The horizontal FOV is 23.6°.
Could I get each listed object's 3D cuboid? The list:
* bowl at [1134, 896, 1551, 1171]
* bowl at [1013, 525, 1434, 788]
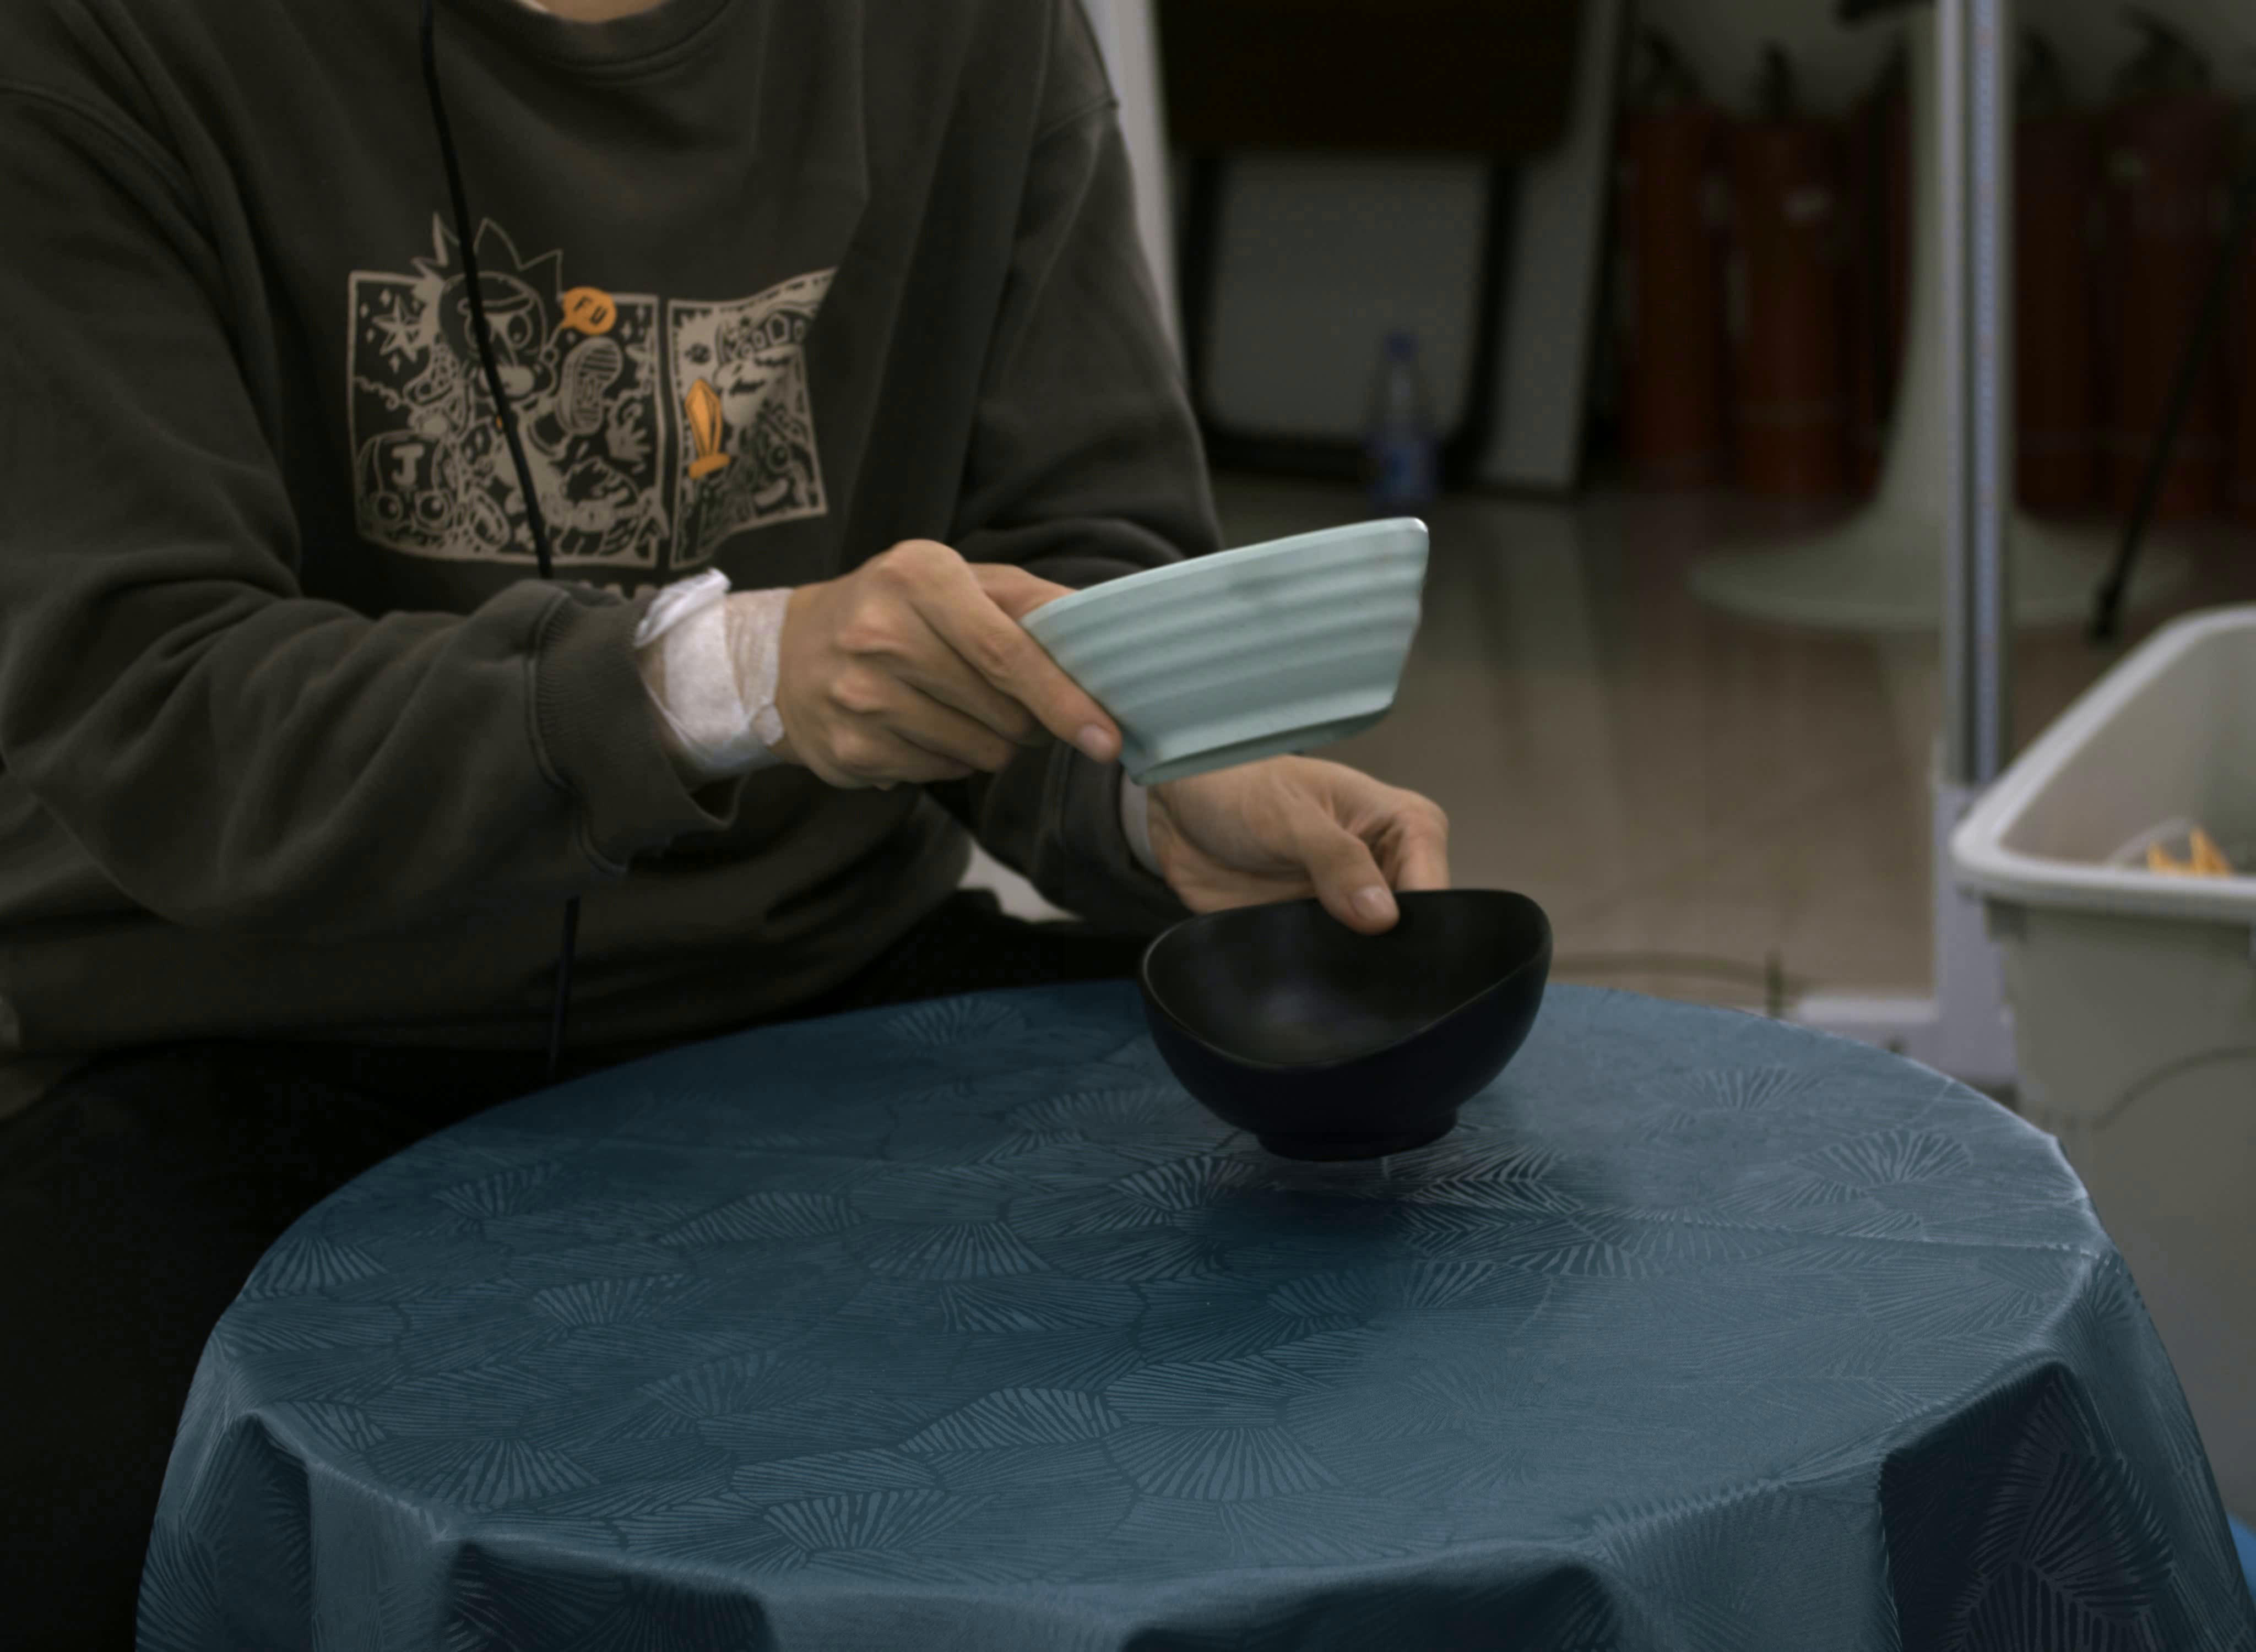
[{"bbox_3d":[0.072,0.071,1.754,0.136,0.067,0.169,-5,14,12],"label":"bowl"},{"bbox_3d":[0.035,-0.051,1.744,0.149,0.059,0.151,-11,-7,-2],"label":"bowl"}]
